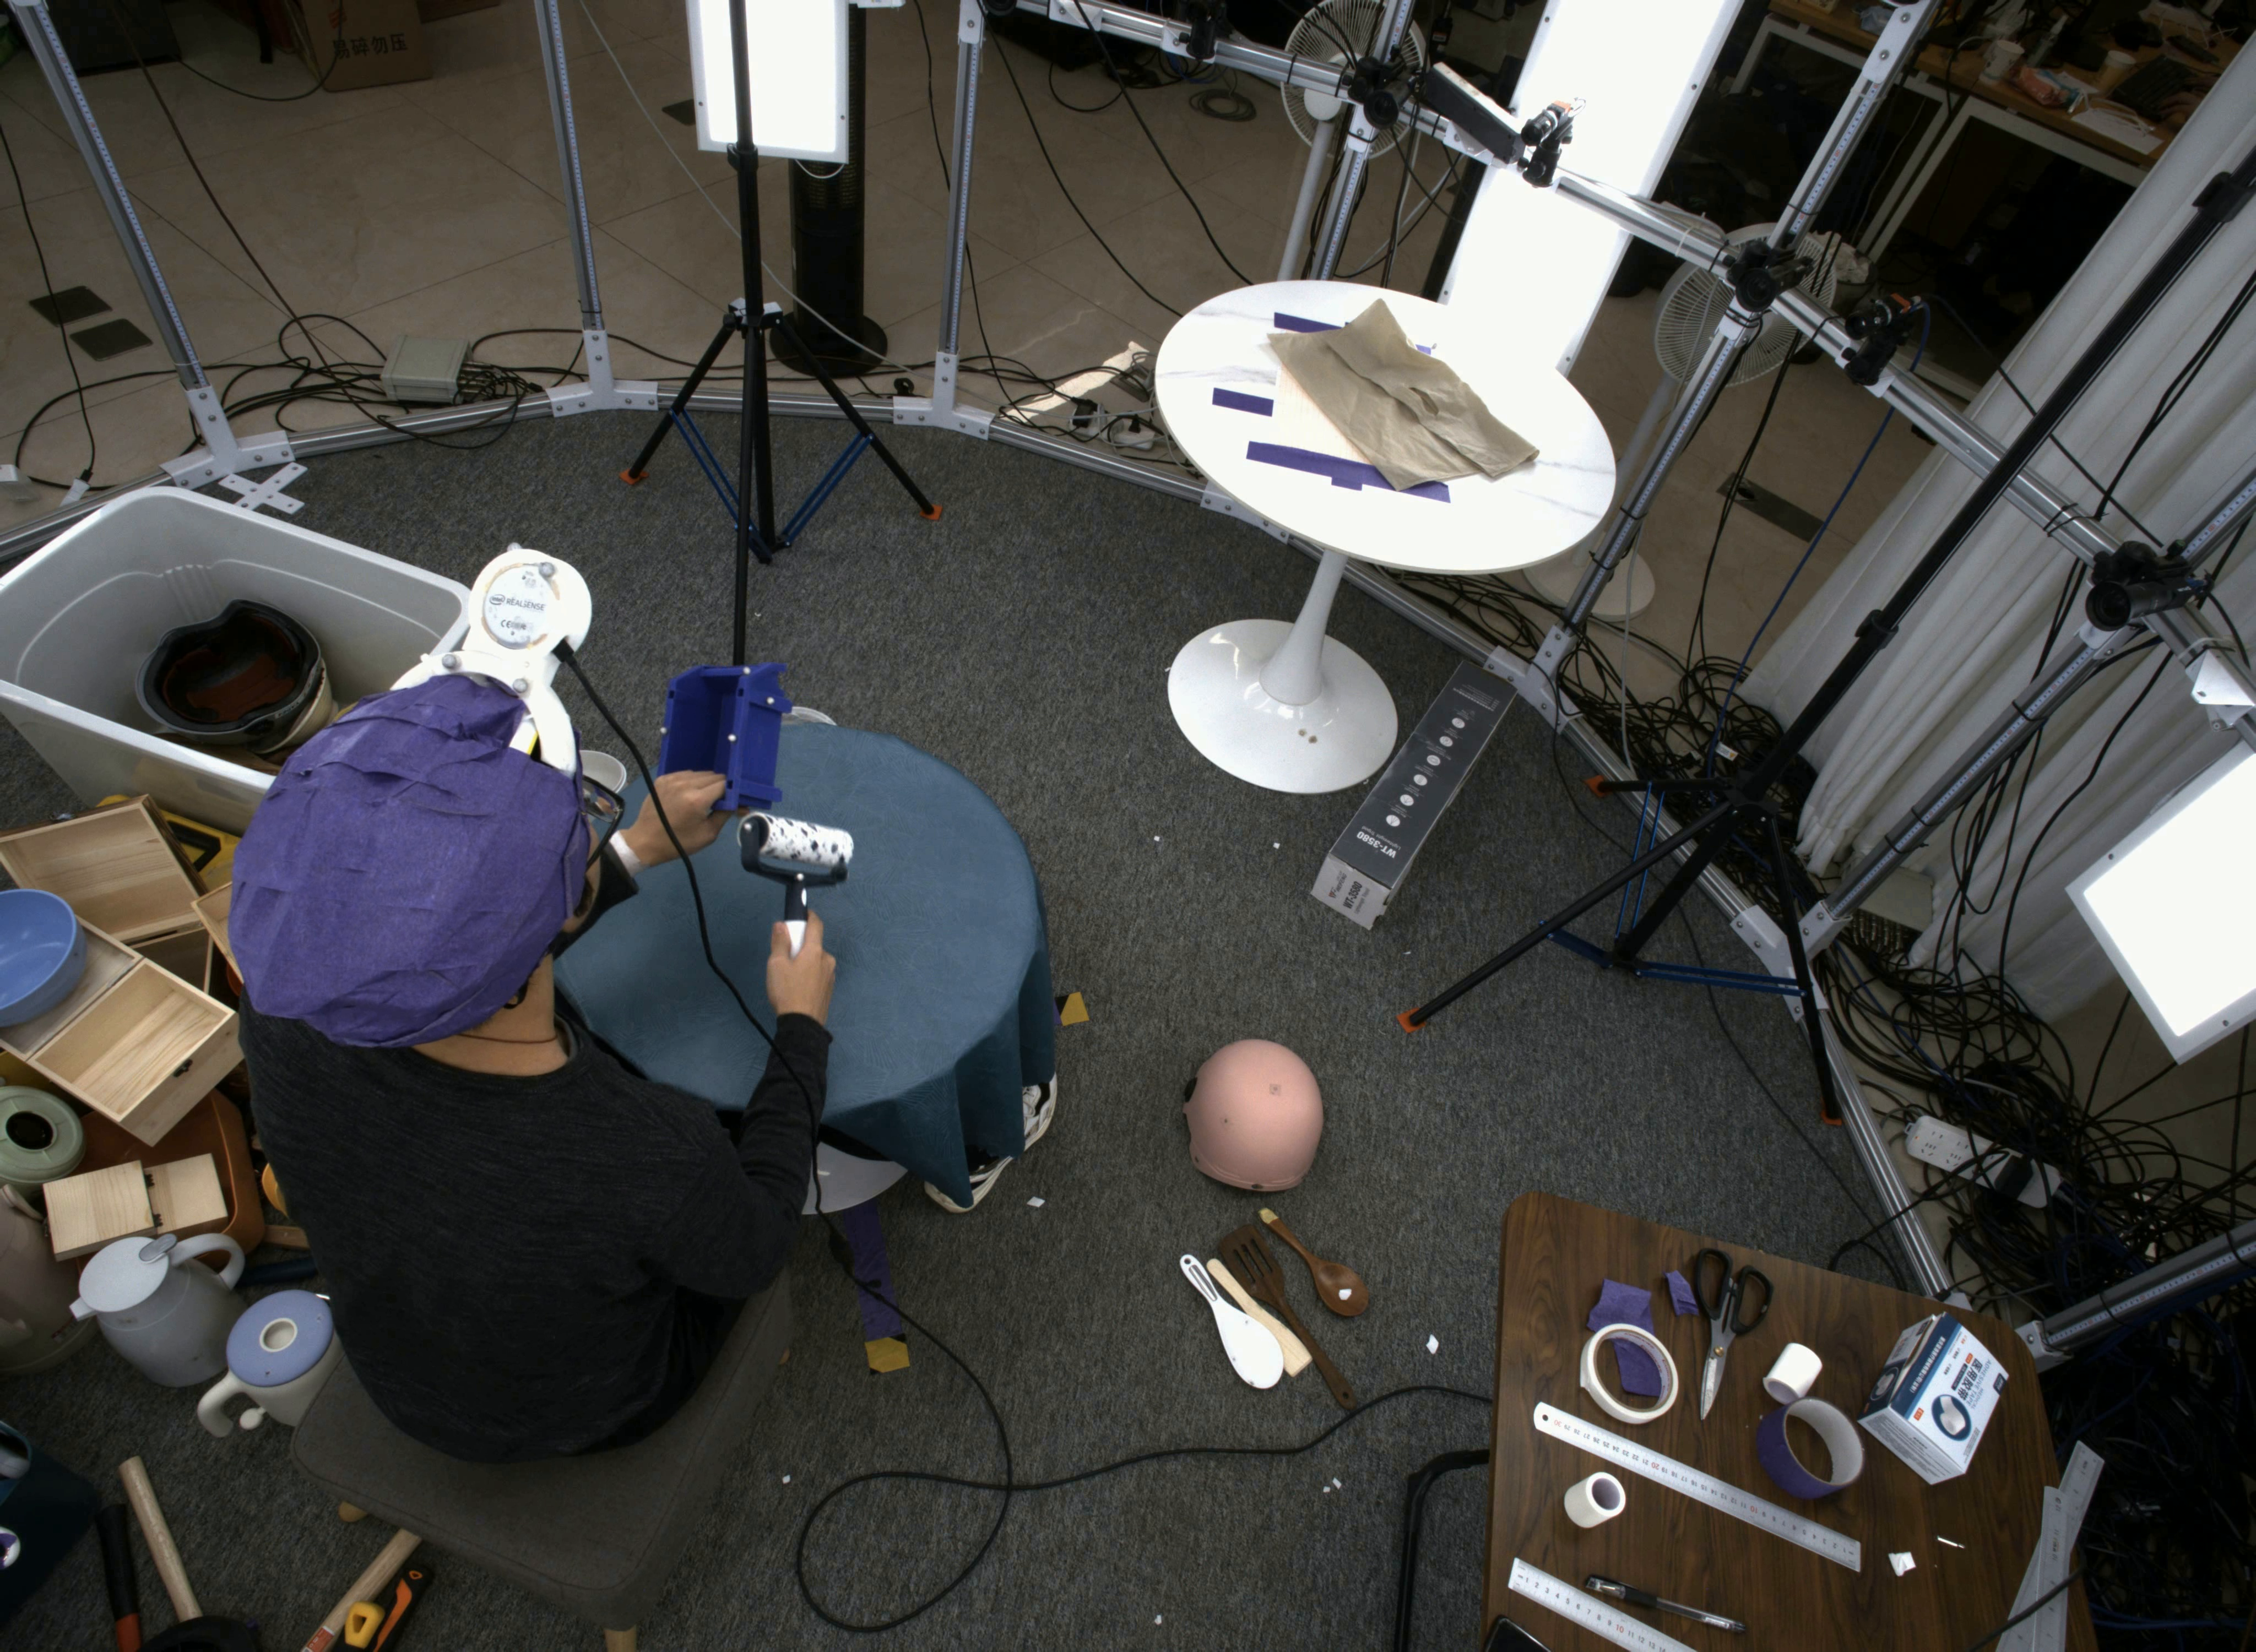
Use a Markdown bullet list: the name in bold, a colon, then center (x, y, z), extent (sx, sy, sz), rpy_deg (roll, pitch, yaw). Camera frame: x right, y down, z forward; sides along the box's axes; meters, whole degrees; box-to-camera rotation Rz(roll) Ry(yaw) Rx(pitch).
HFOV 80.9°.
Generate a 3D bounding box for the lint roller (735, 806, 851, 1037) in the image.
- **lint roller**: center (-0.373, 0.110, 1.470), extent (0.049, 0.180, 0.248), rpy_deg (-7, 83, 21)

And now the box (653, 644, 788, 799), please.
- **box**: center (-0.464, -0.119, 1.468), extent (0.120, 0.083, 0.181), rpy_deg (3, 88, 26)
